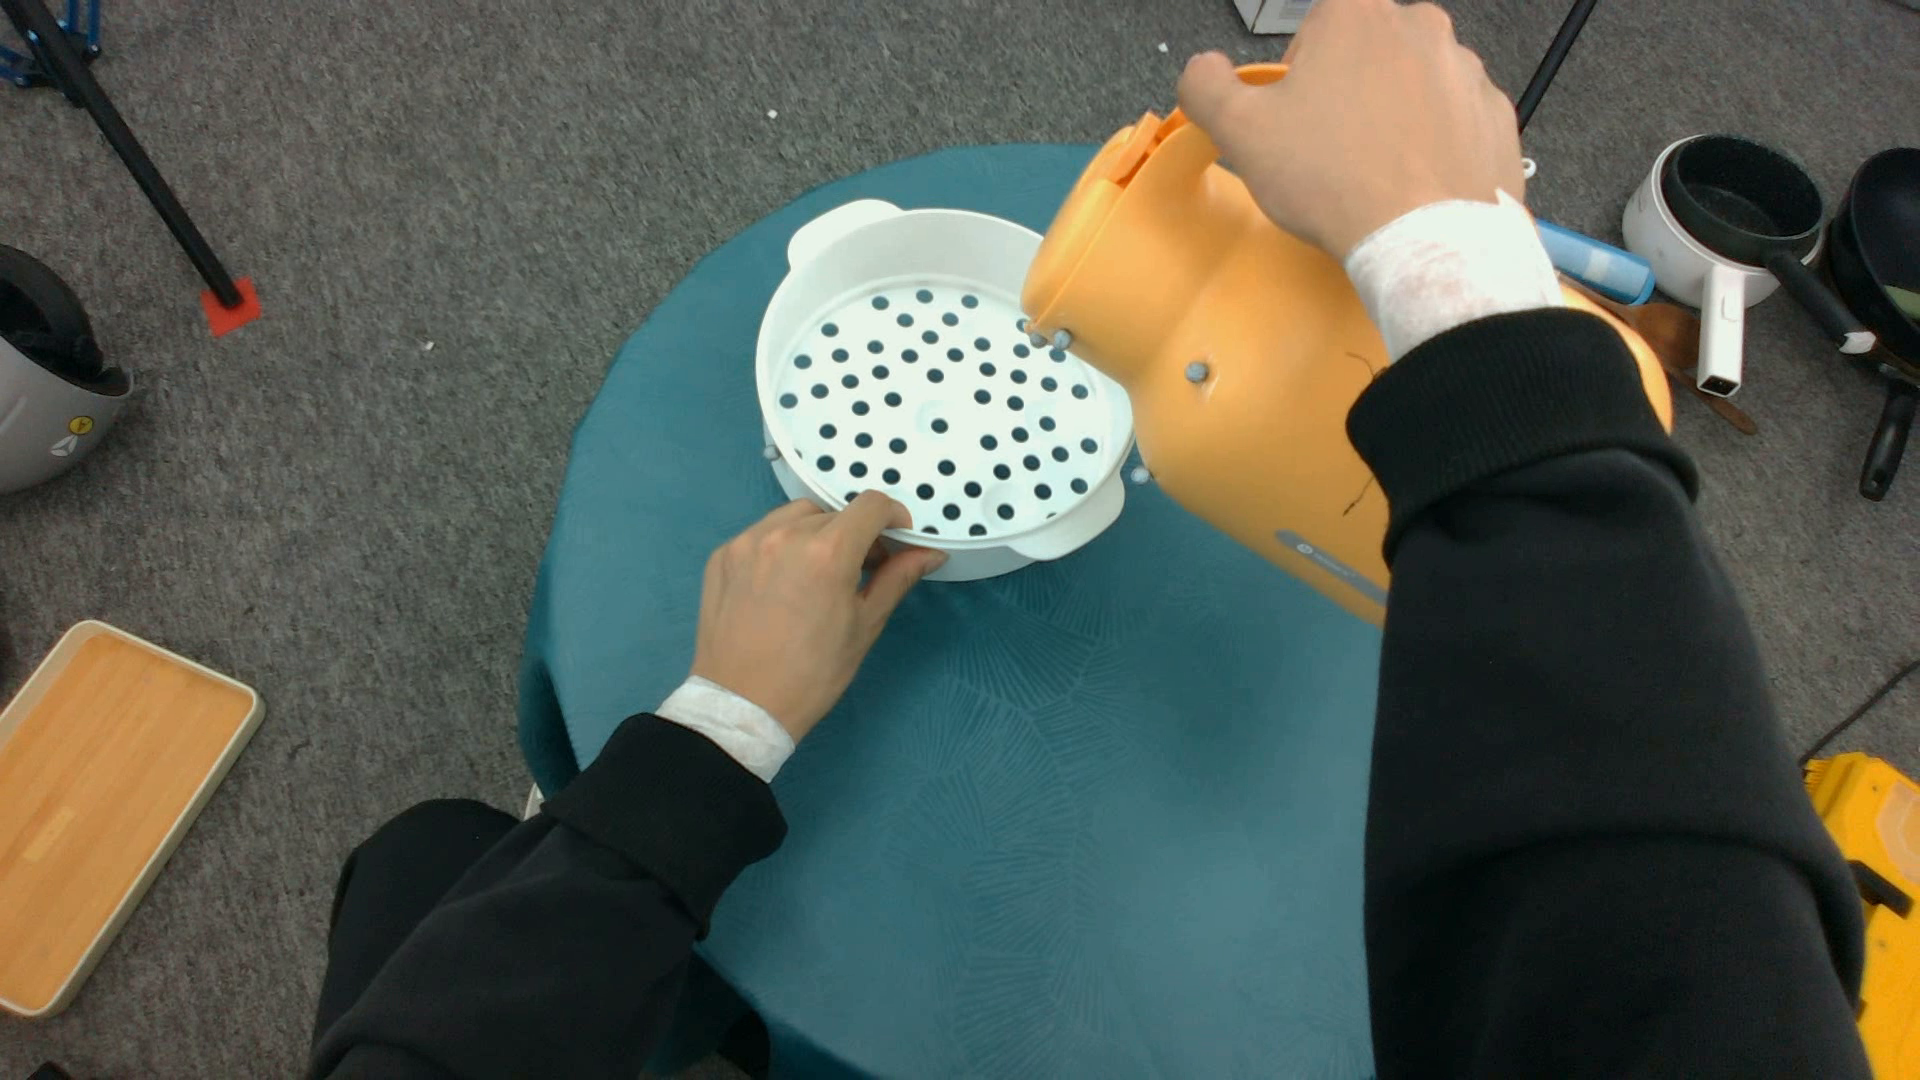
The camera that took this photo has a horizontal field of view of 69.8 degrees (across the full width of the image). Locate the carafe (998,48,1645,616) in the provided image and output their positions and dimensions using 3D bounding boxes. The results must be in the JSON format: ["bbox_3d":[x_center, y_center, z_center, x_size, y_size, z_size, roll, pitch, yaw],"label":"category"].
[{"bbox_3d":[0.150,-0.091,0.577,0.260,0.201,0.164,27,66,-7],"label":"carafe"}]

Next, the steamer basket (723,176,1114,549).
[{"bbox_3d":[-0.022,-0.092,0.729,0.202,0.069,0.231,-33,72,-21],"label":"steamer basket"}]
